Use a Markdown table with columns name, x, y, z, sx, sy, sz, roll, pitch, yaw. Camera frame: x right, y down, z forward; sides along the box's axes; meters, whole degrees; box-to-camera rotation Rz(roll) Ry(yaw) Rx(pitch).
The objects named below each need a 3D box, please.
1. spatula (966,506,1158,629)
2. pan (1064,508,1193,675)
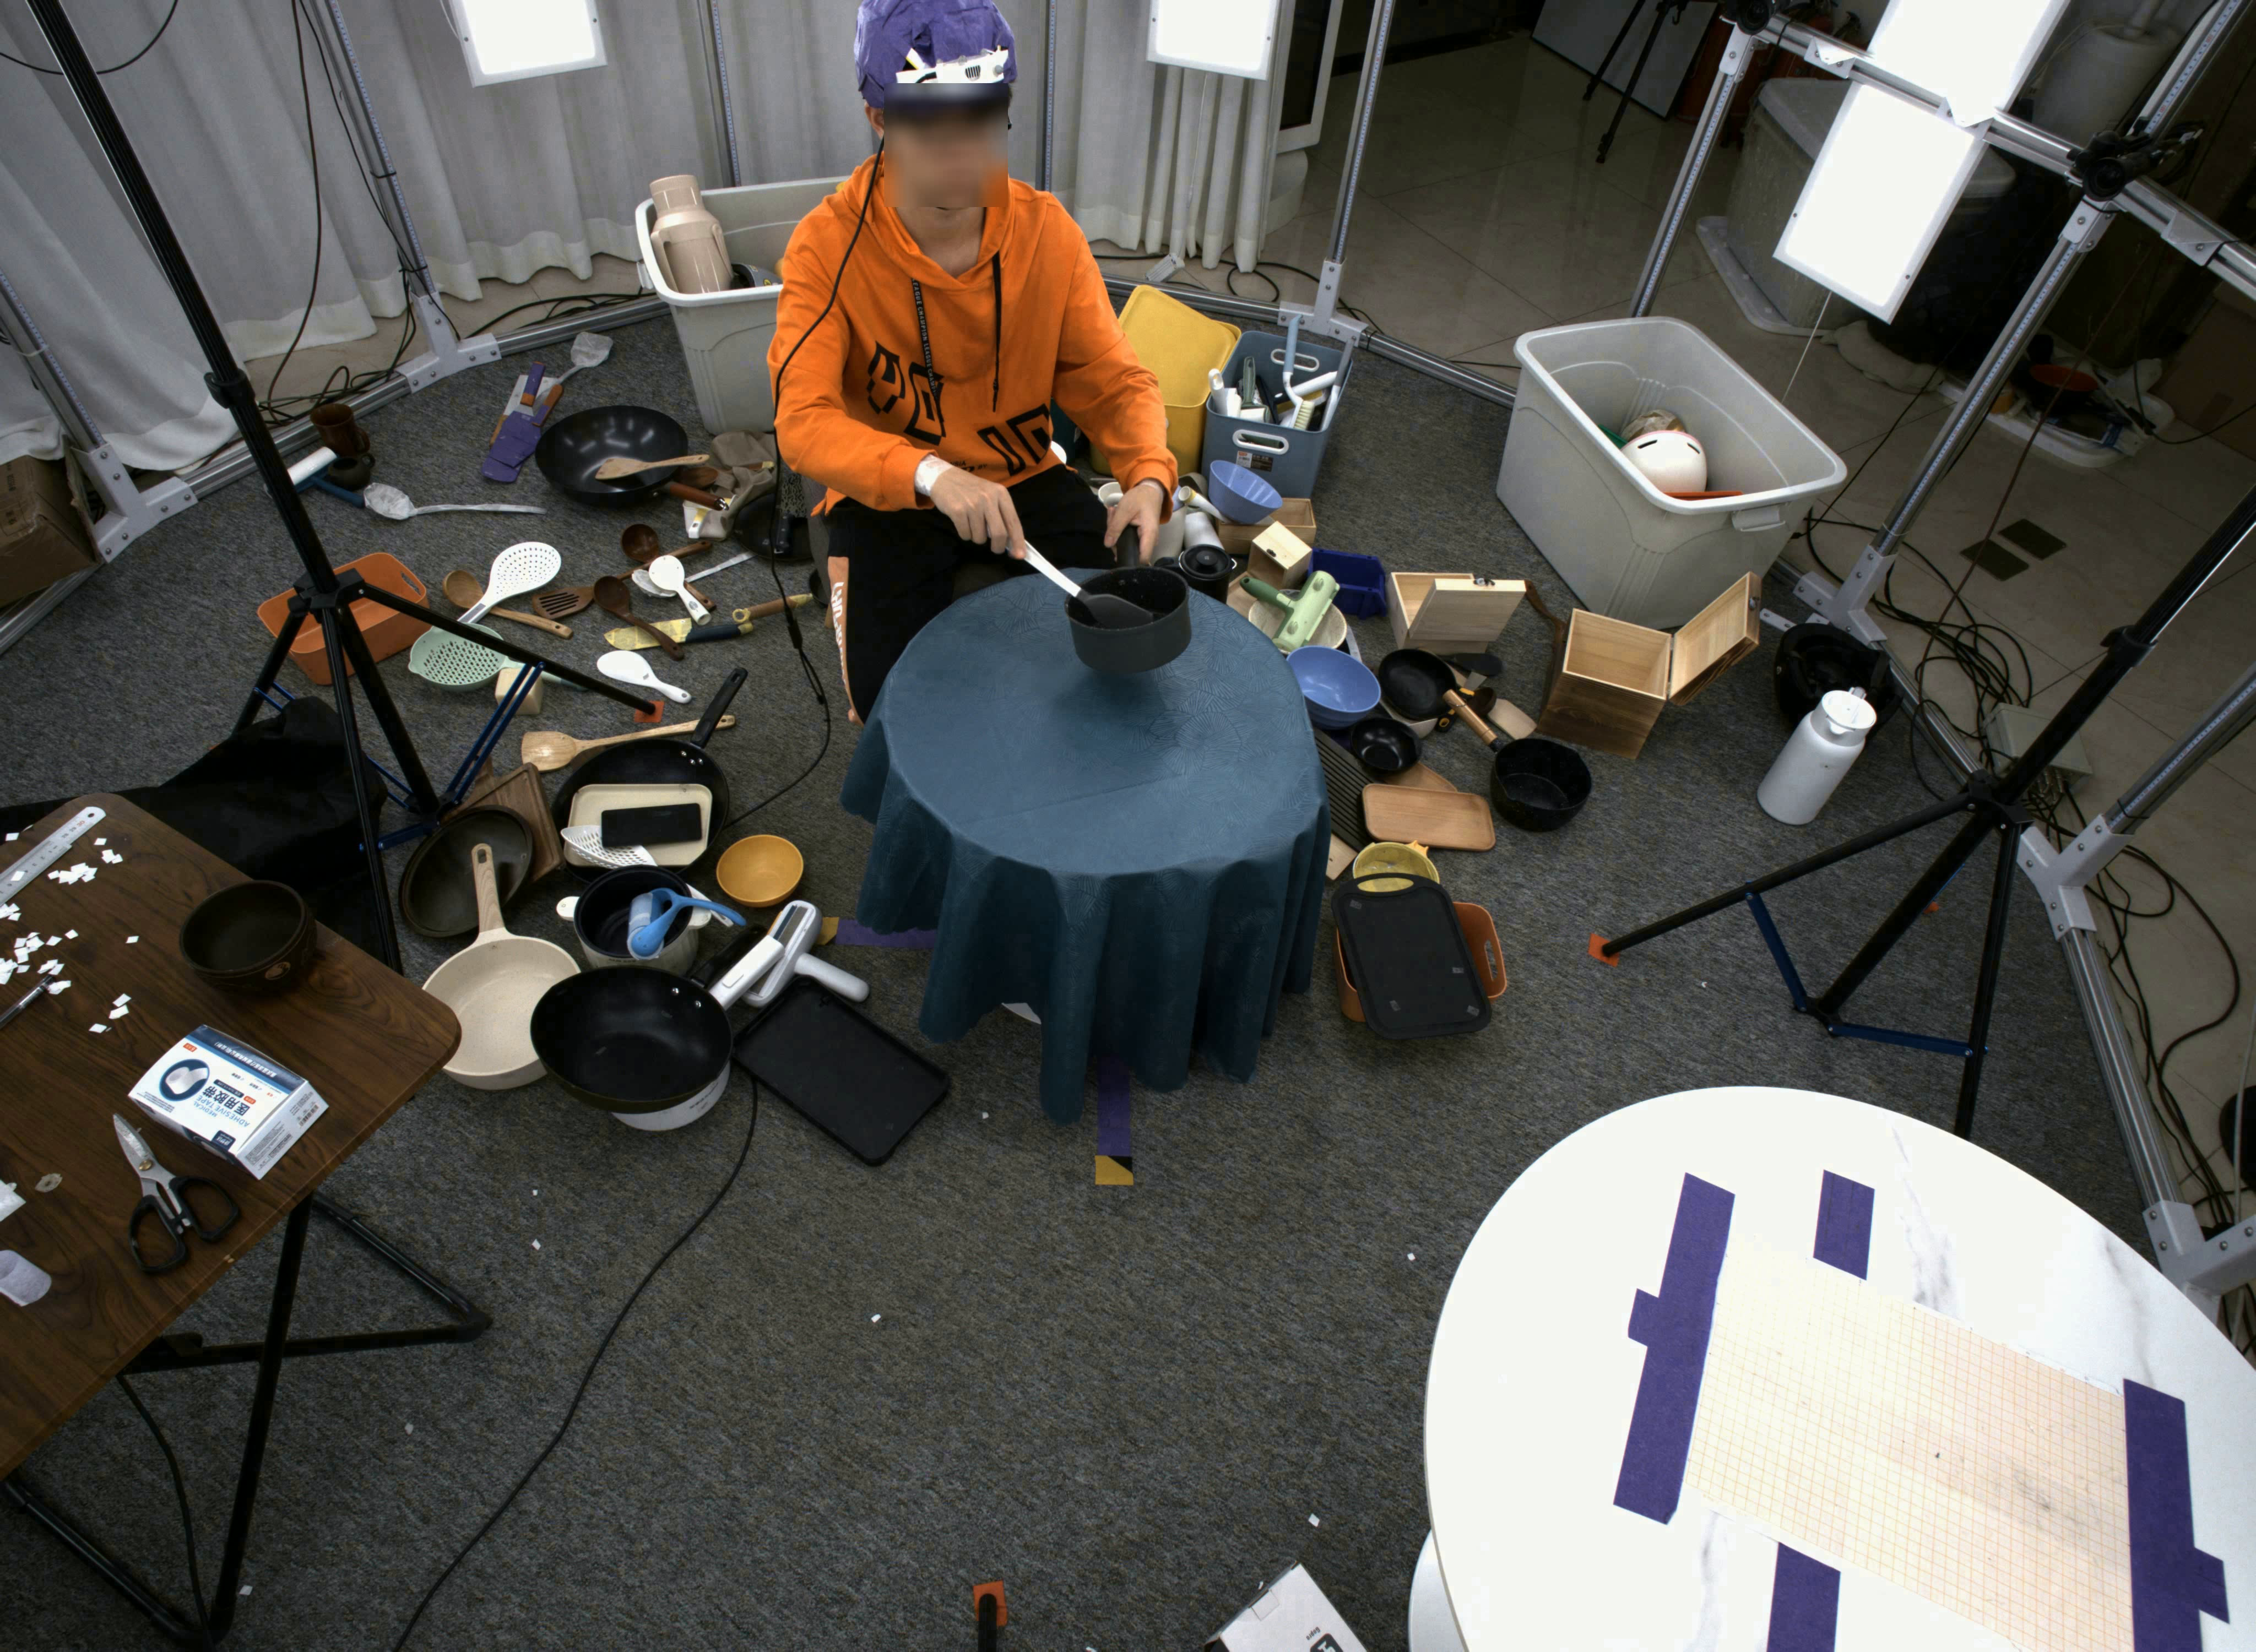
| name | x | y | z | sx | sy | sz | roll | pitch | yaw |
| --- | --- | --- | --- | --- | --- | --- | --- | --- | --- |
| spatula | -0.091 | -0.349 | 1.765 | 0.287 | 0.058 | 0.033 | 32 | 32 | 1 |
| pan | 0.006 | -0.335 | 1.823 | 0.172 | 0.084 | 0.337 | -4 | 40 | 7 |
